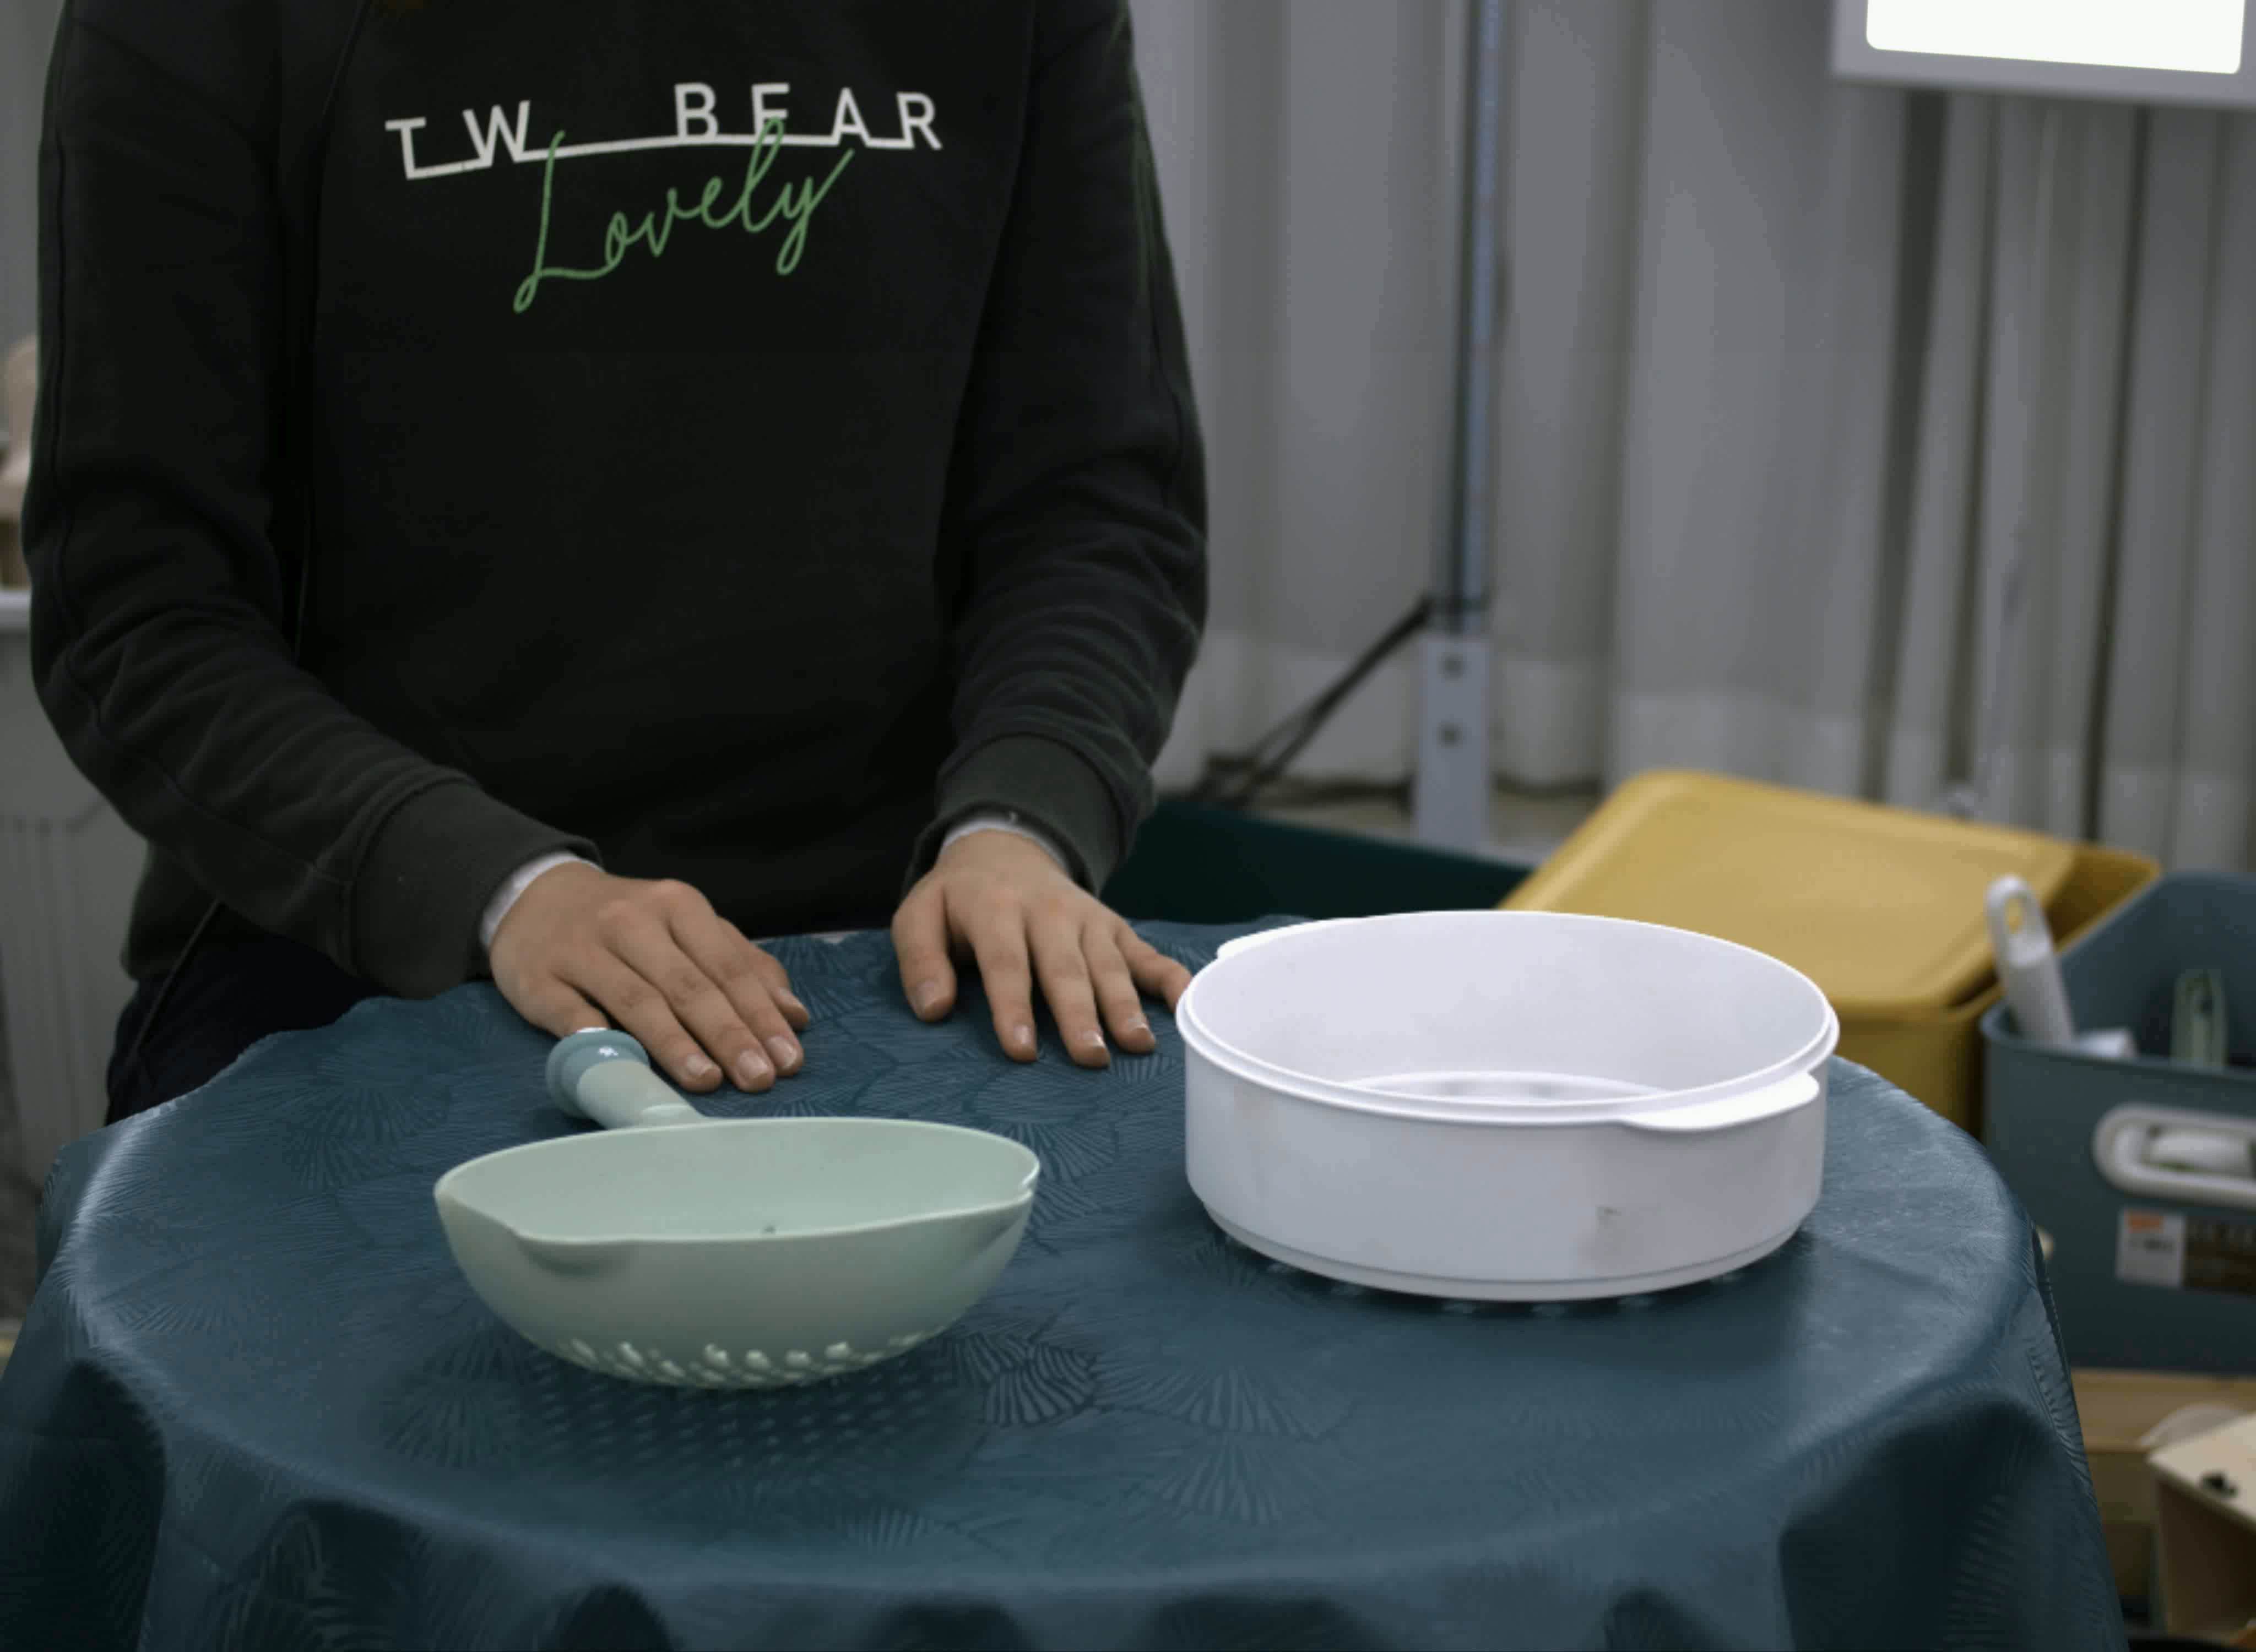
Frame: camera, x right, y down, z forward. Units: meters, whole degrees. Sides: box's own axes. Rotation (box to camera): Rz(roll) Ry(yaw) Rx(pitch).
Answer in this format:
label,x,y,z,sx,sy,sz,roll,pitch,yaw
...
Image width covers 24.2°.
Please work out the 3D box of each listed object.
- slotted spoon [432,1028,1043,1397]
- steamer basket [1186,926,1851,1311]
label,x,y,z,sx,sy,sz,roll,pitch,yaw
slotted spoon,-0.133,0.098,1.555,0.169,0.076,0.355,-3,16,-15
steamer basket,0.117,0.088,1.600,0.203,0.070,0.227,-10,19,-37
